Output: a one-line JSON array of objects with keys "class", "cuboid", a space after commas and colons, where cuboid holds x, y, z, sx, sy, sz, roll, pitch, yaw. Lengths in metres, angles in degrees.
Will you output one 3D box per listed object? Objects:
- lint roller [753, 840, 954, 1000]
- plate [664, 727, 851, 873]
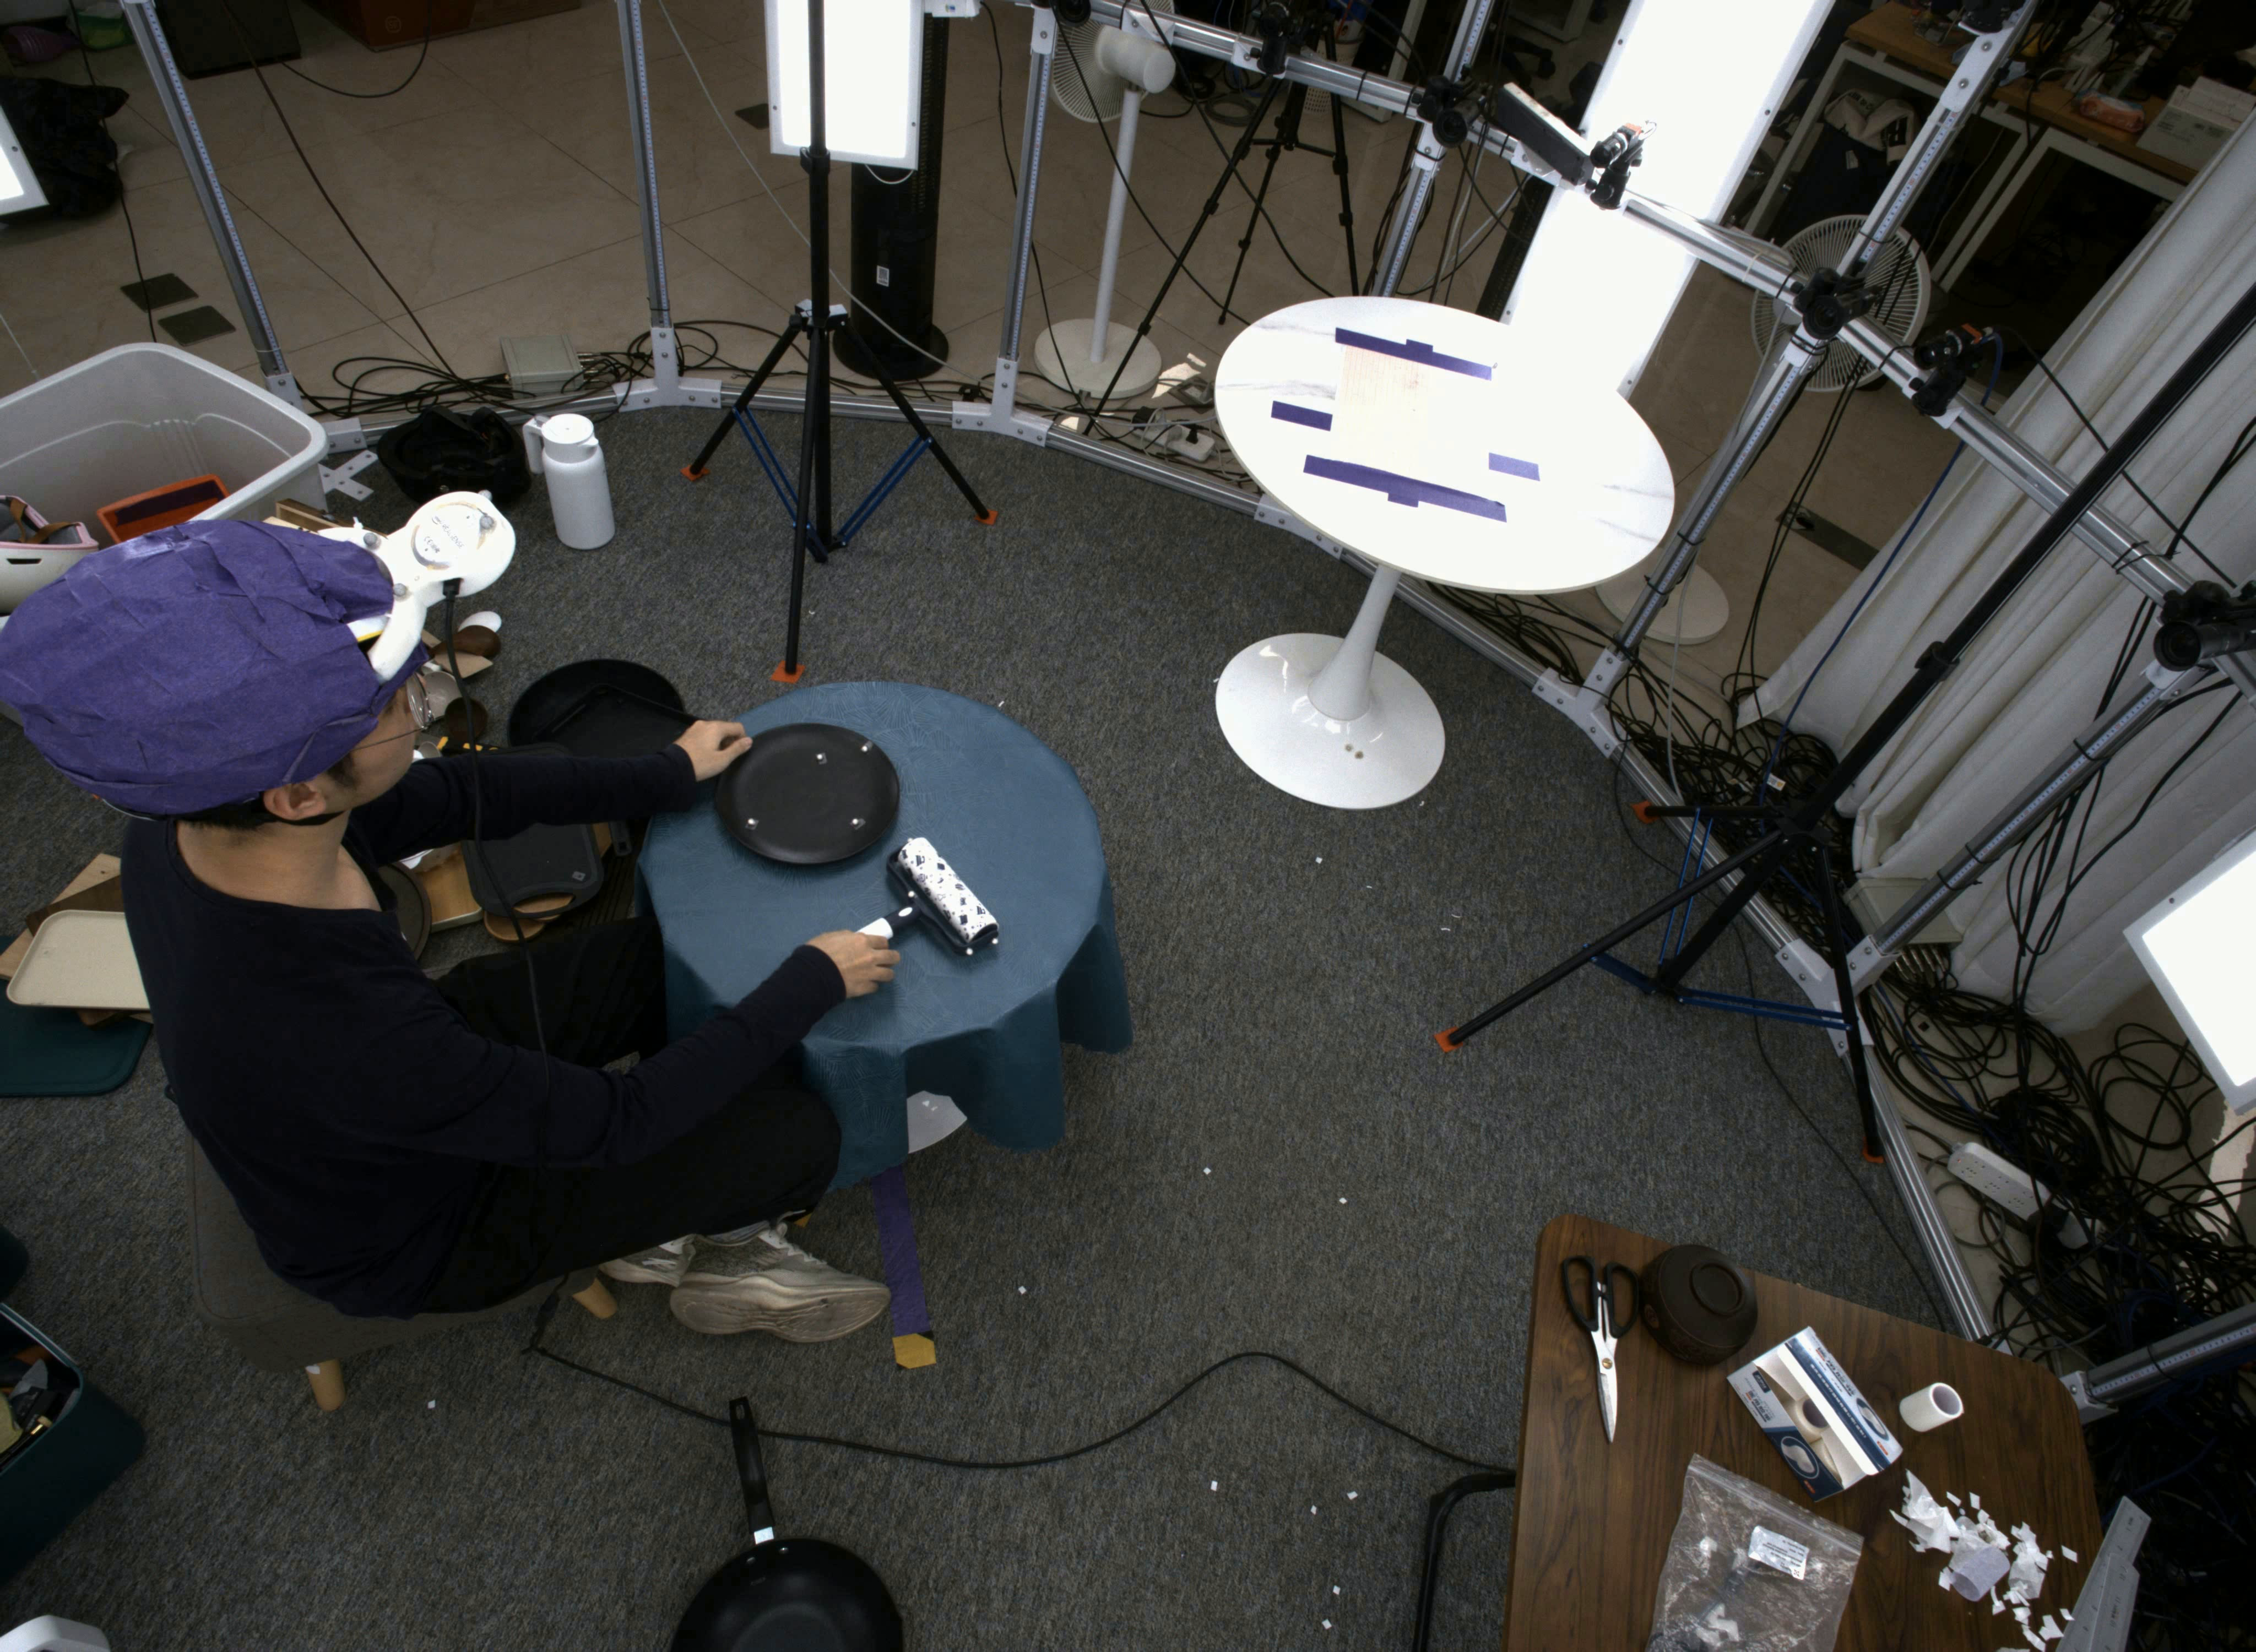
[{"class": "lint roller", "cuboid": [-0.361, 0.136, 1.624, 0.247, 0.051, 0.172, -35, 69, -30]}, {"class": "plate", "cuboid": [-0.493, -0.034, 1.726, 0.244, 0.024, 0.240, 9, 53, -10]}]
